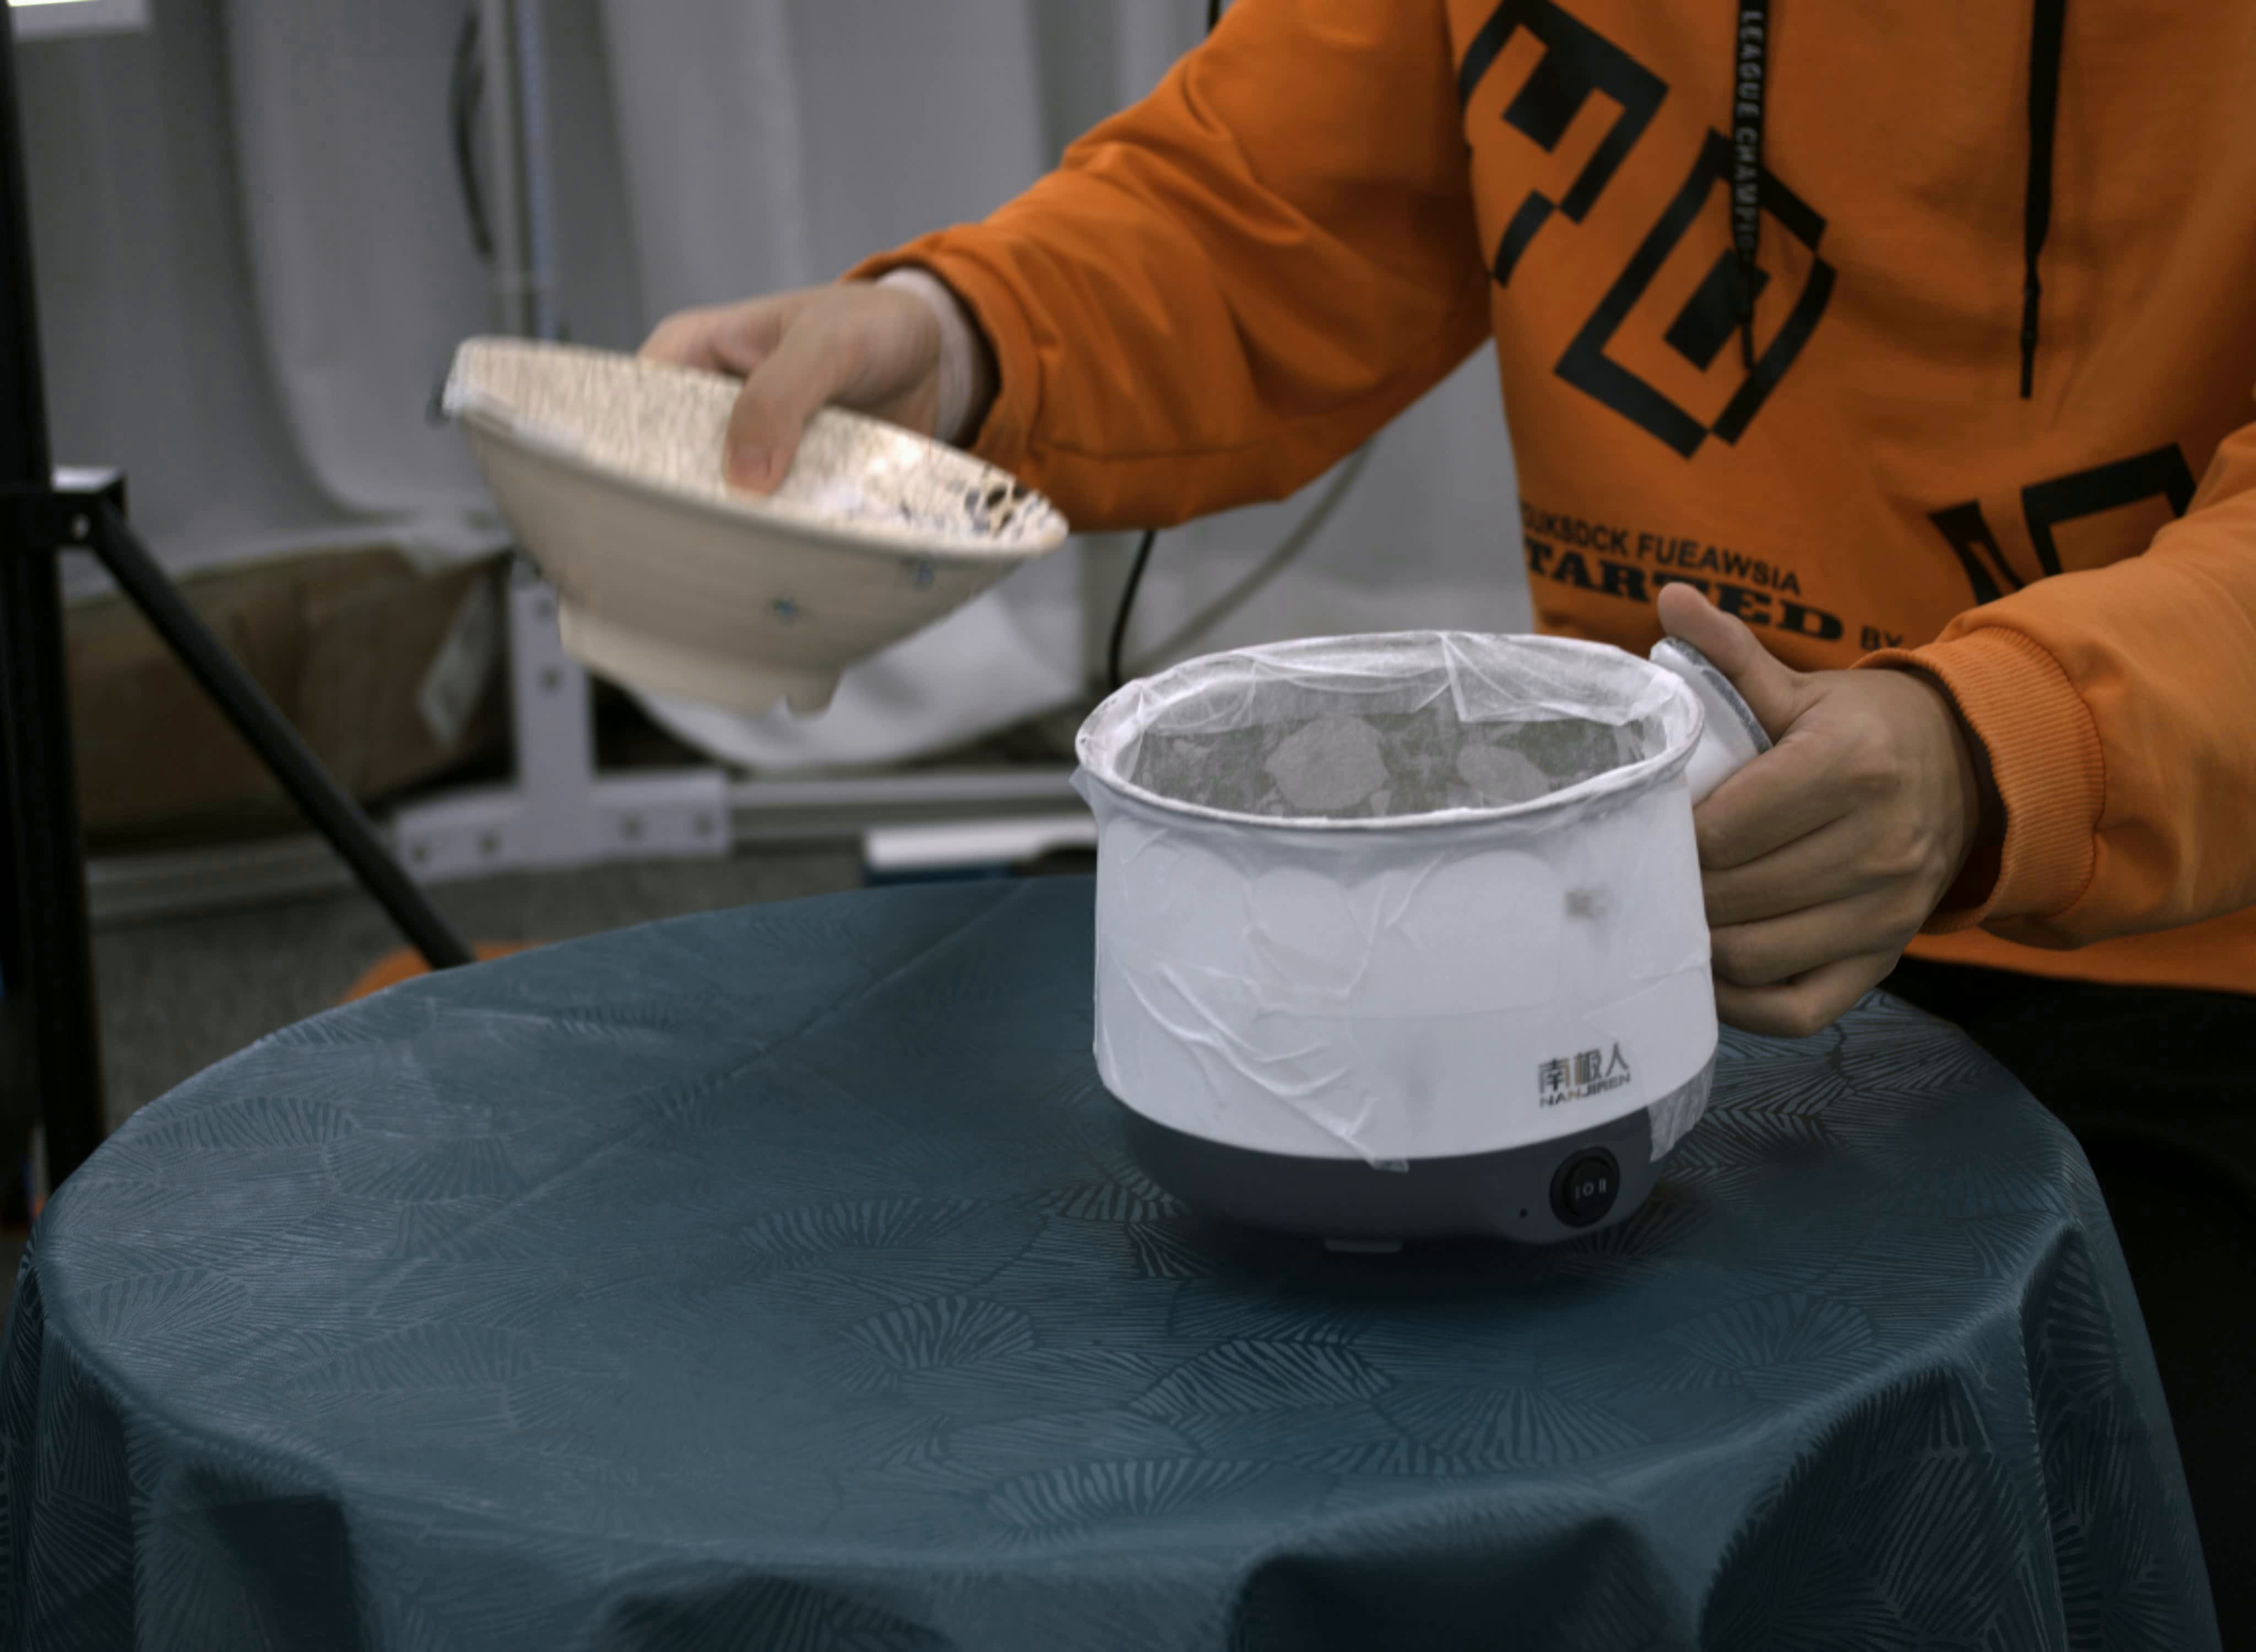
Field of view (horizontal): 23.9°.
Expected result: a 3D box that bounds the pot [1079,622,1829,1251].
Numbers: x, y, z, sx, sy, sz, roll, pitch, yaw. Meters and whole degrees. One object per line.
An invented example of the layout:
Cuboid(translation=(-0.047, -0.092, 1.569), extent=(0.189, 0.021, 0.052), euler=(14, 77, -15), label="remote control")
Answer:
Cuboid(translation=(0.101, 0.024, 1.511), extent=(0.229, 0.136, 0.183), euler=(-14, 21, -29), label="pot")

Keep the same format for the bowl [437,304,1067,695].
Cuboid(translation=(-0.126, -0.092, 1.646), extent=(0.202, 0.078, 0.205), euler=(18, 10, -5), label="bowl")
